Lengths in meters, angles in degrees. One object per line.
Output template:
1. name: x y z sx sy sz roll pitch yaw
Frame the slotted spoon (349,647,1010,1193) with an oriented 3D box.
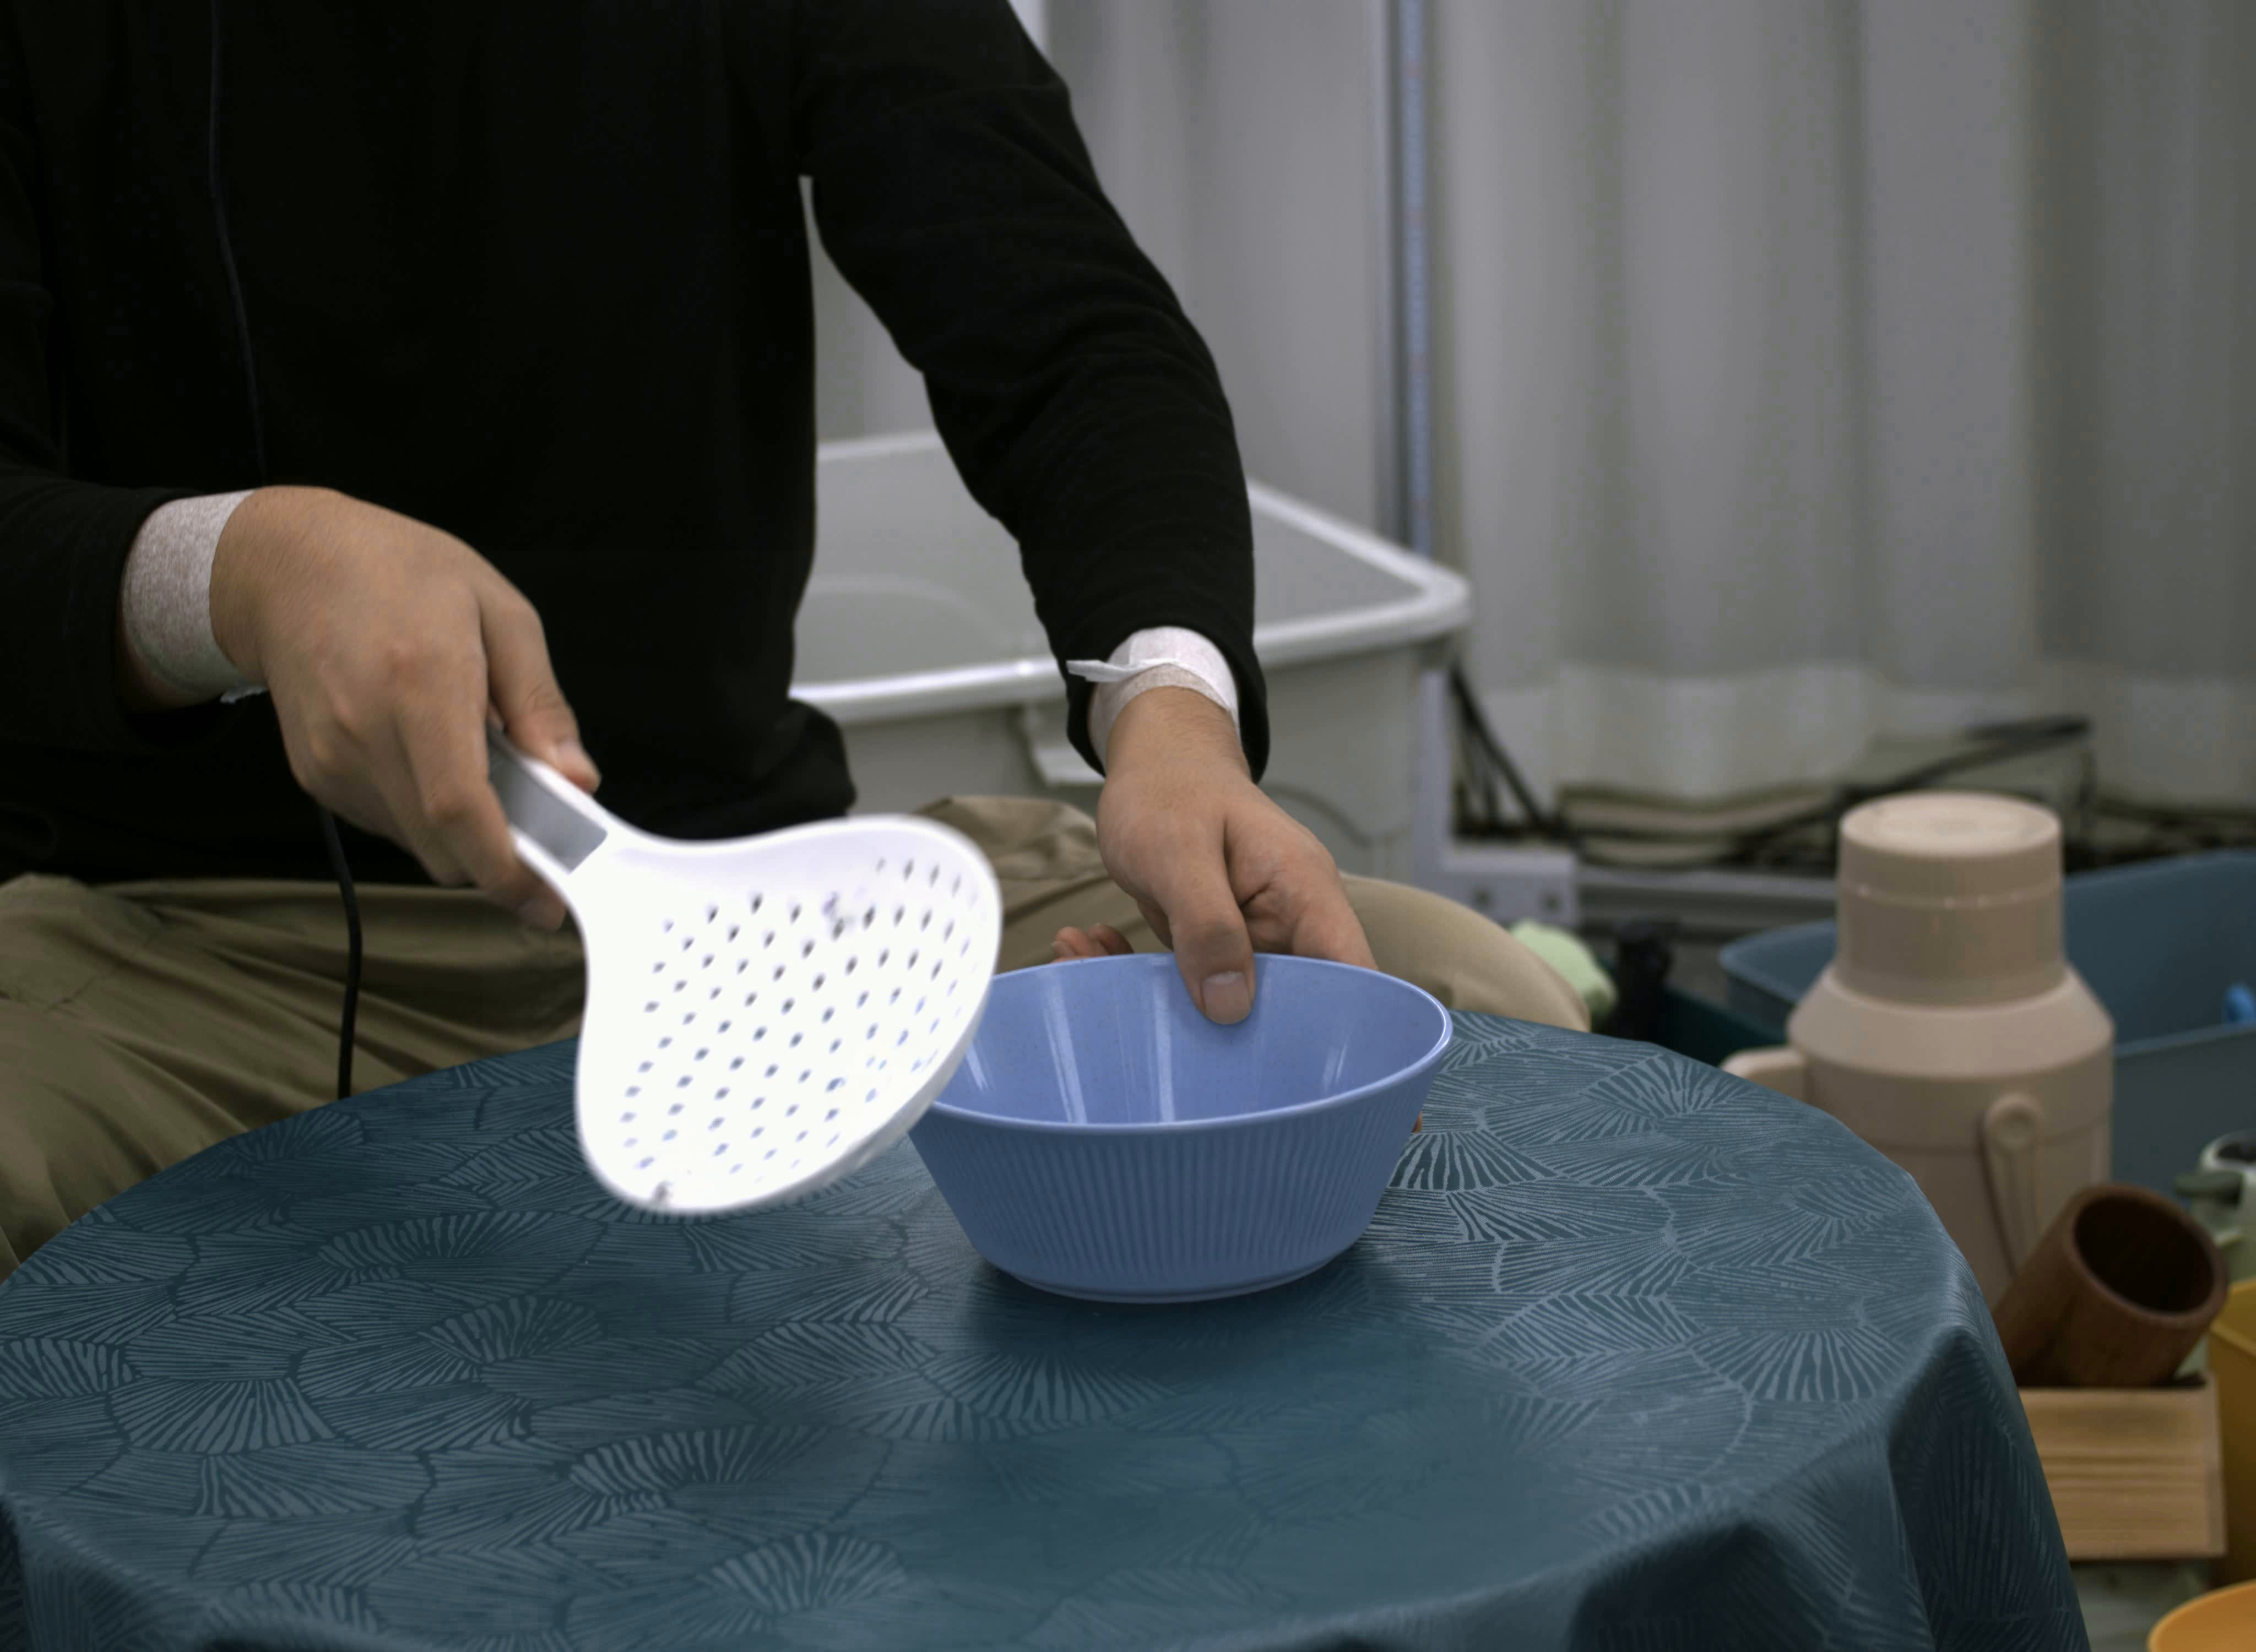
1. slotted spoon: -0.145 0.014 1.599 0.136 0.045 0.353 -46 42 -9

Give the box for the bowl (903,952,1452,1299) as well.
1. bowl: 0.011 0.093 1.655 0.175 0.070 0.177 -2 14 0
